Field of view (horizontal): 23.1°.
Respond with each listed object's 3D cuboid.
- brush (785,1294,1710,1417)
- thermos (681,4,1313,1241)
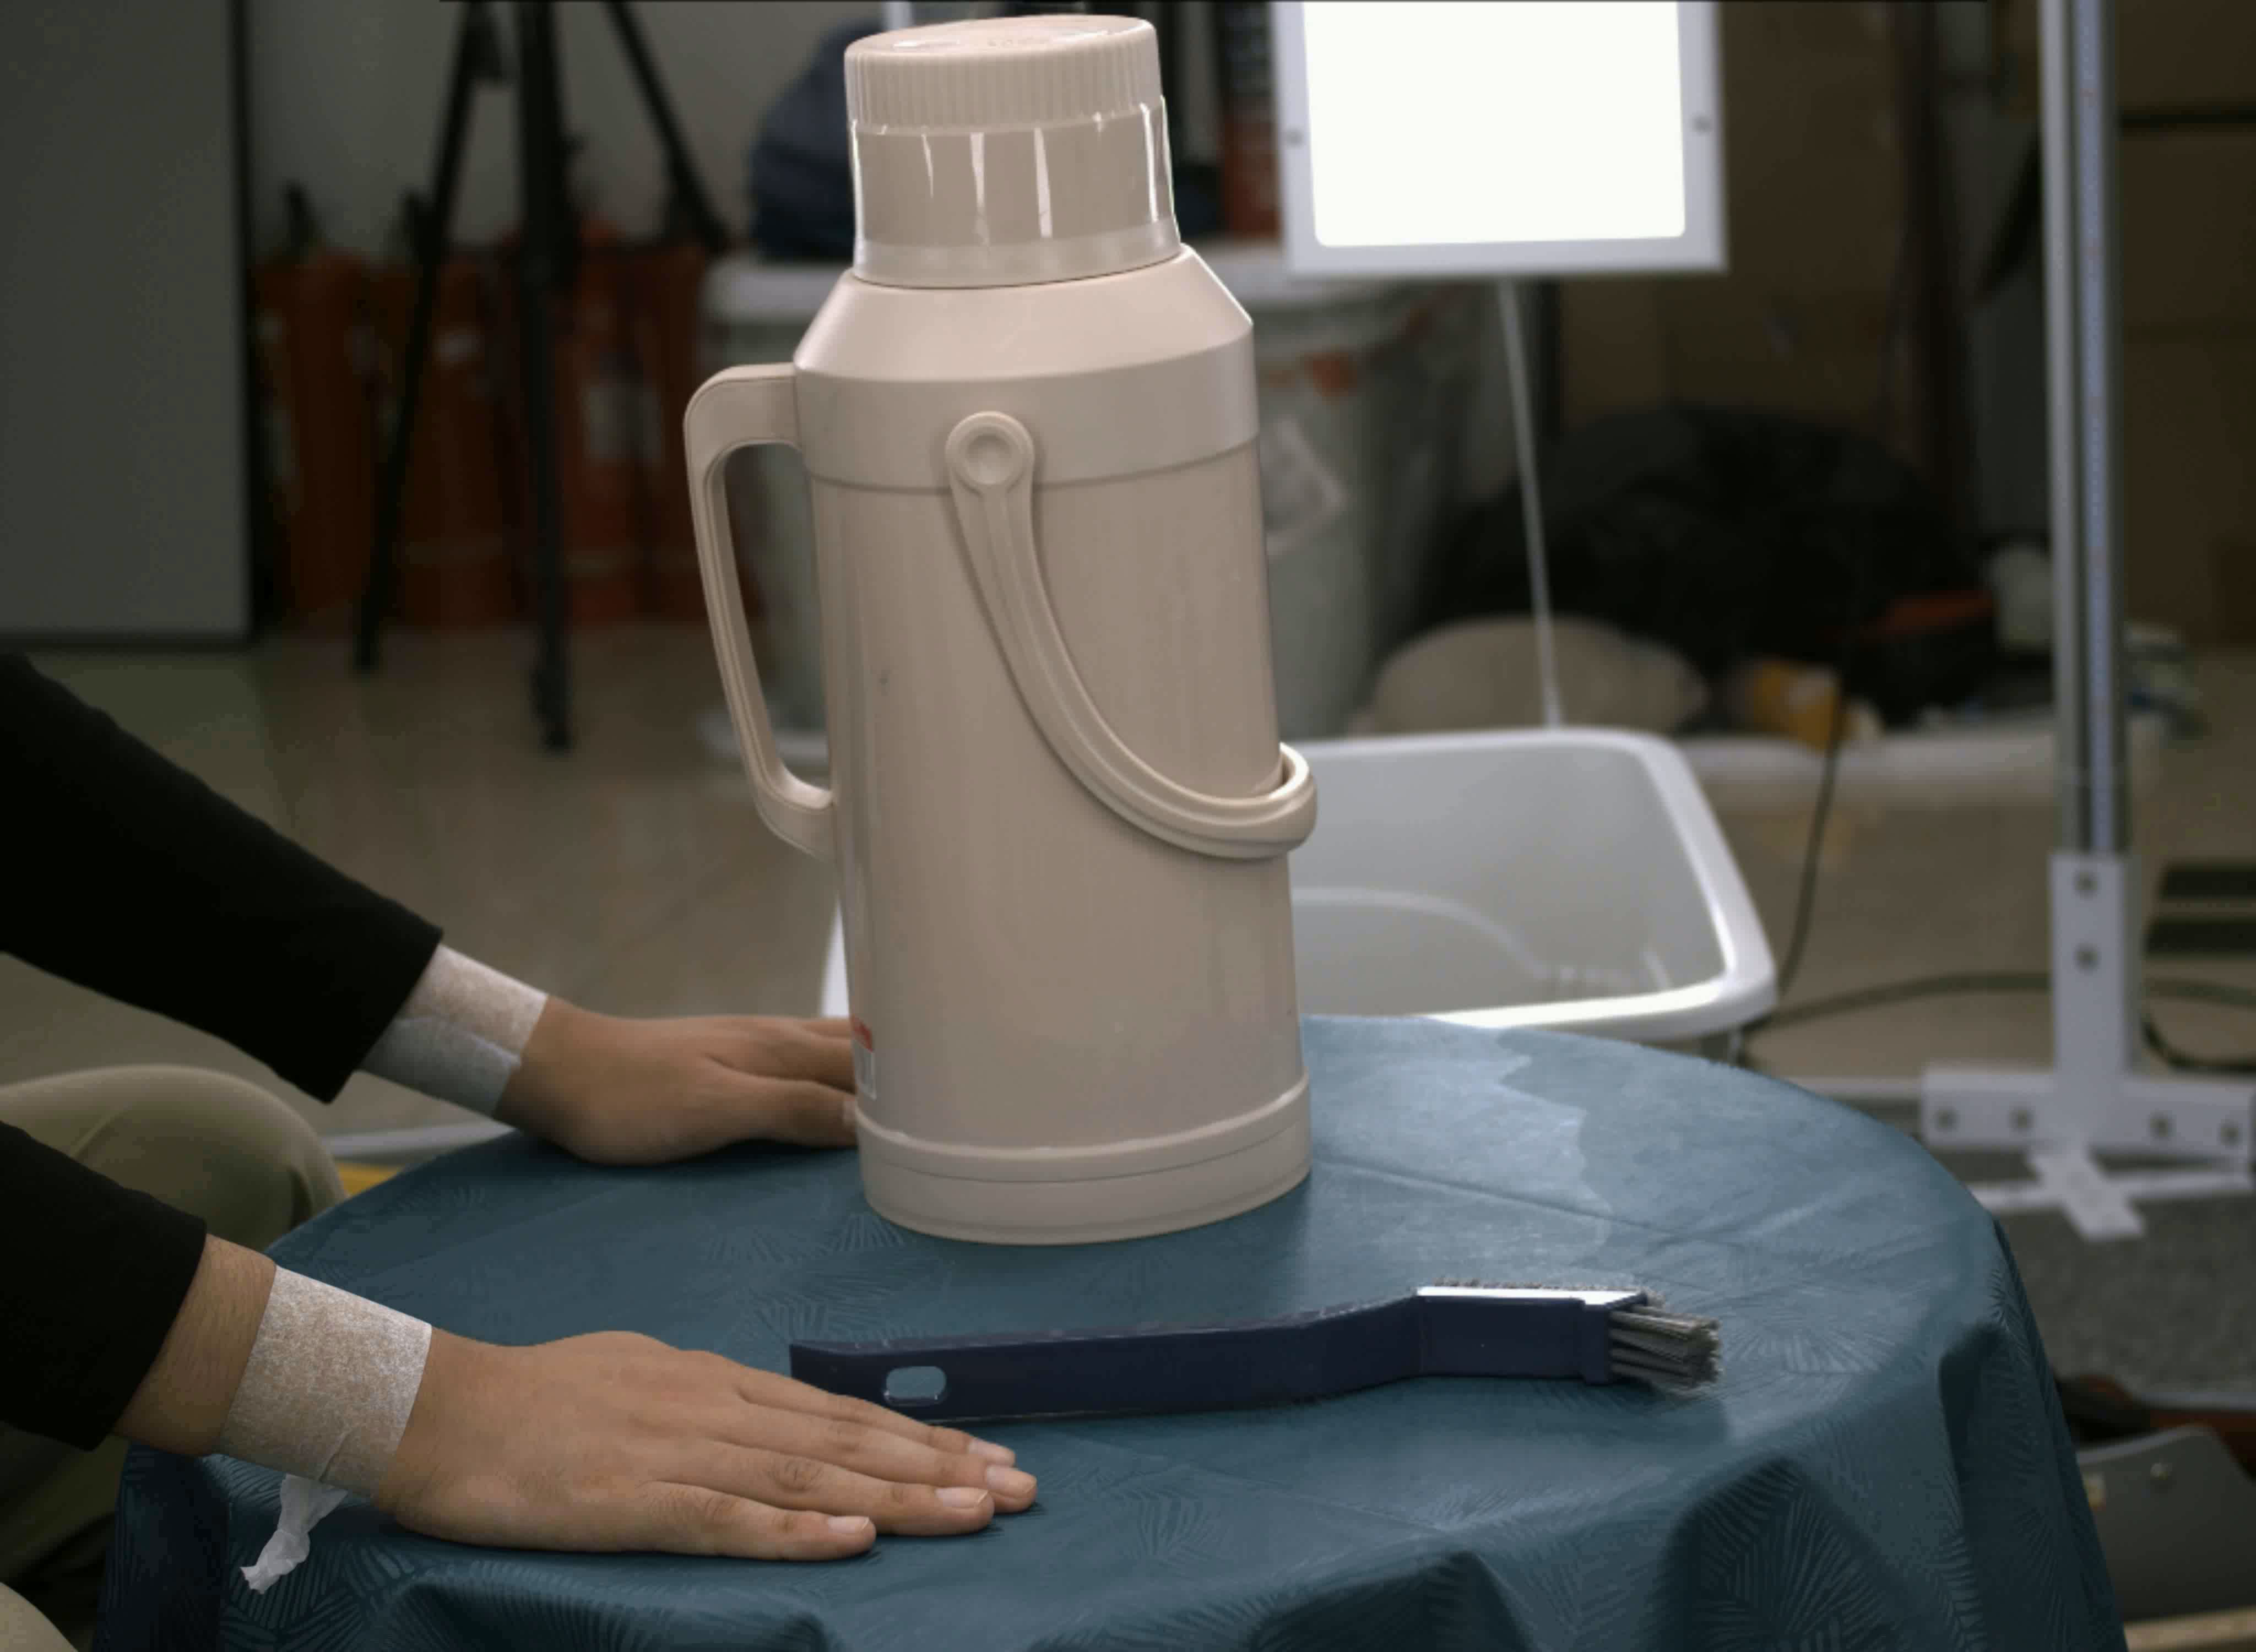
[{"bbox_3d":[0.034,0.162,1.669,0.271,0.033,0.096,-4,12,-4],"label":"brush"},{"bbox_3d":[-0.043,-0.070,1.881,0.208,0.408,0.174,-2,16,9],"label":"thermos"}]
